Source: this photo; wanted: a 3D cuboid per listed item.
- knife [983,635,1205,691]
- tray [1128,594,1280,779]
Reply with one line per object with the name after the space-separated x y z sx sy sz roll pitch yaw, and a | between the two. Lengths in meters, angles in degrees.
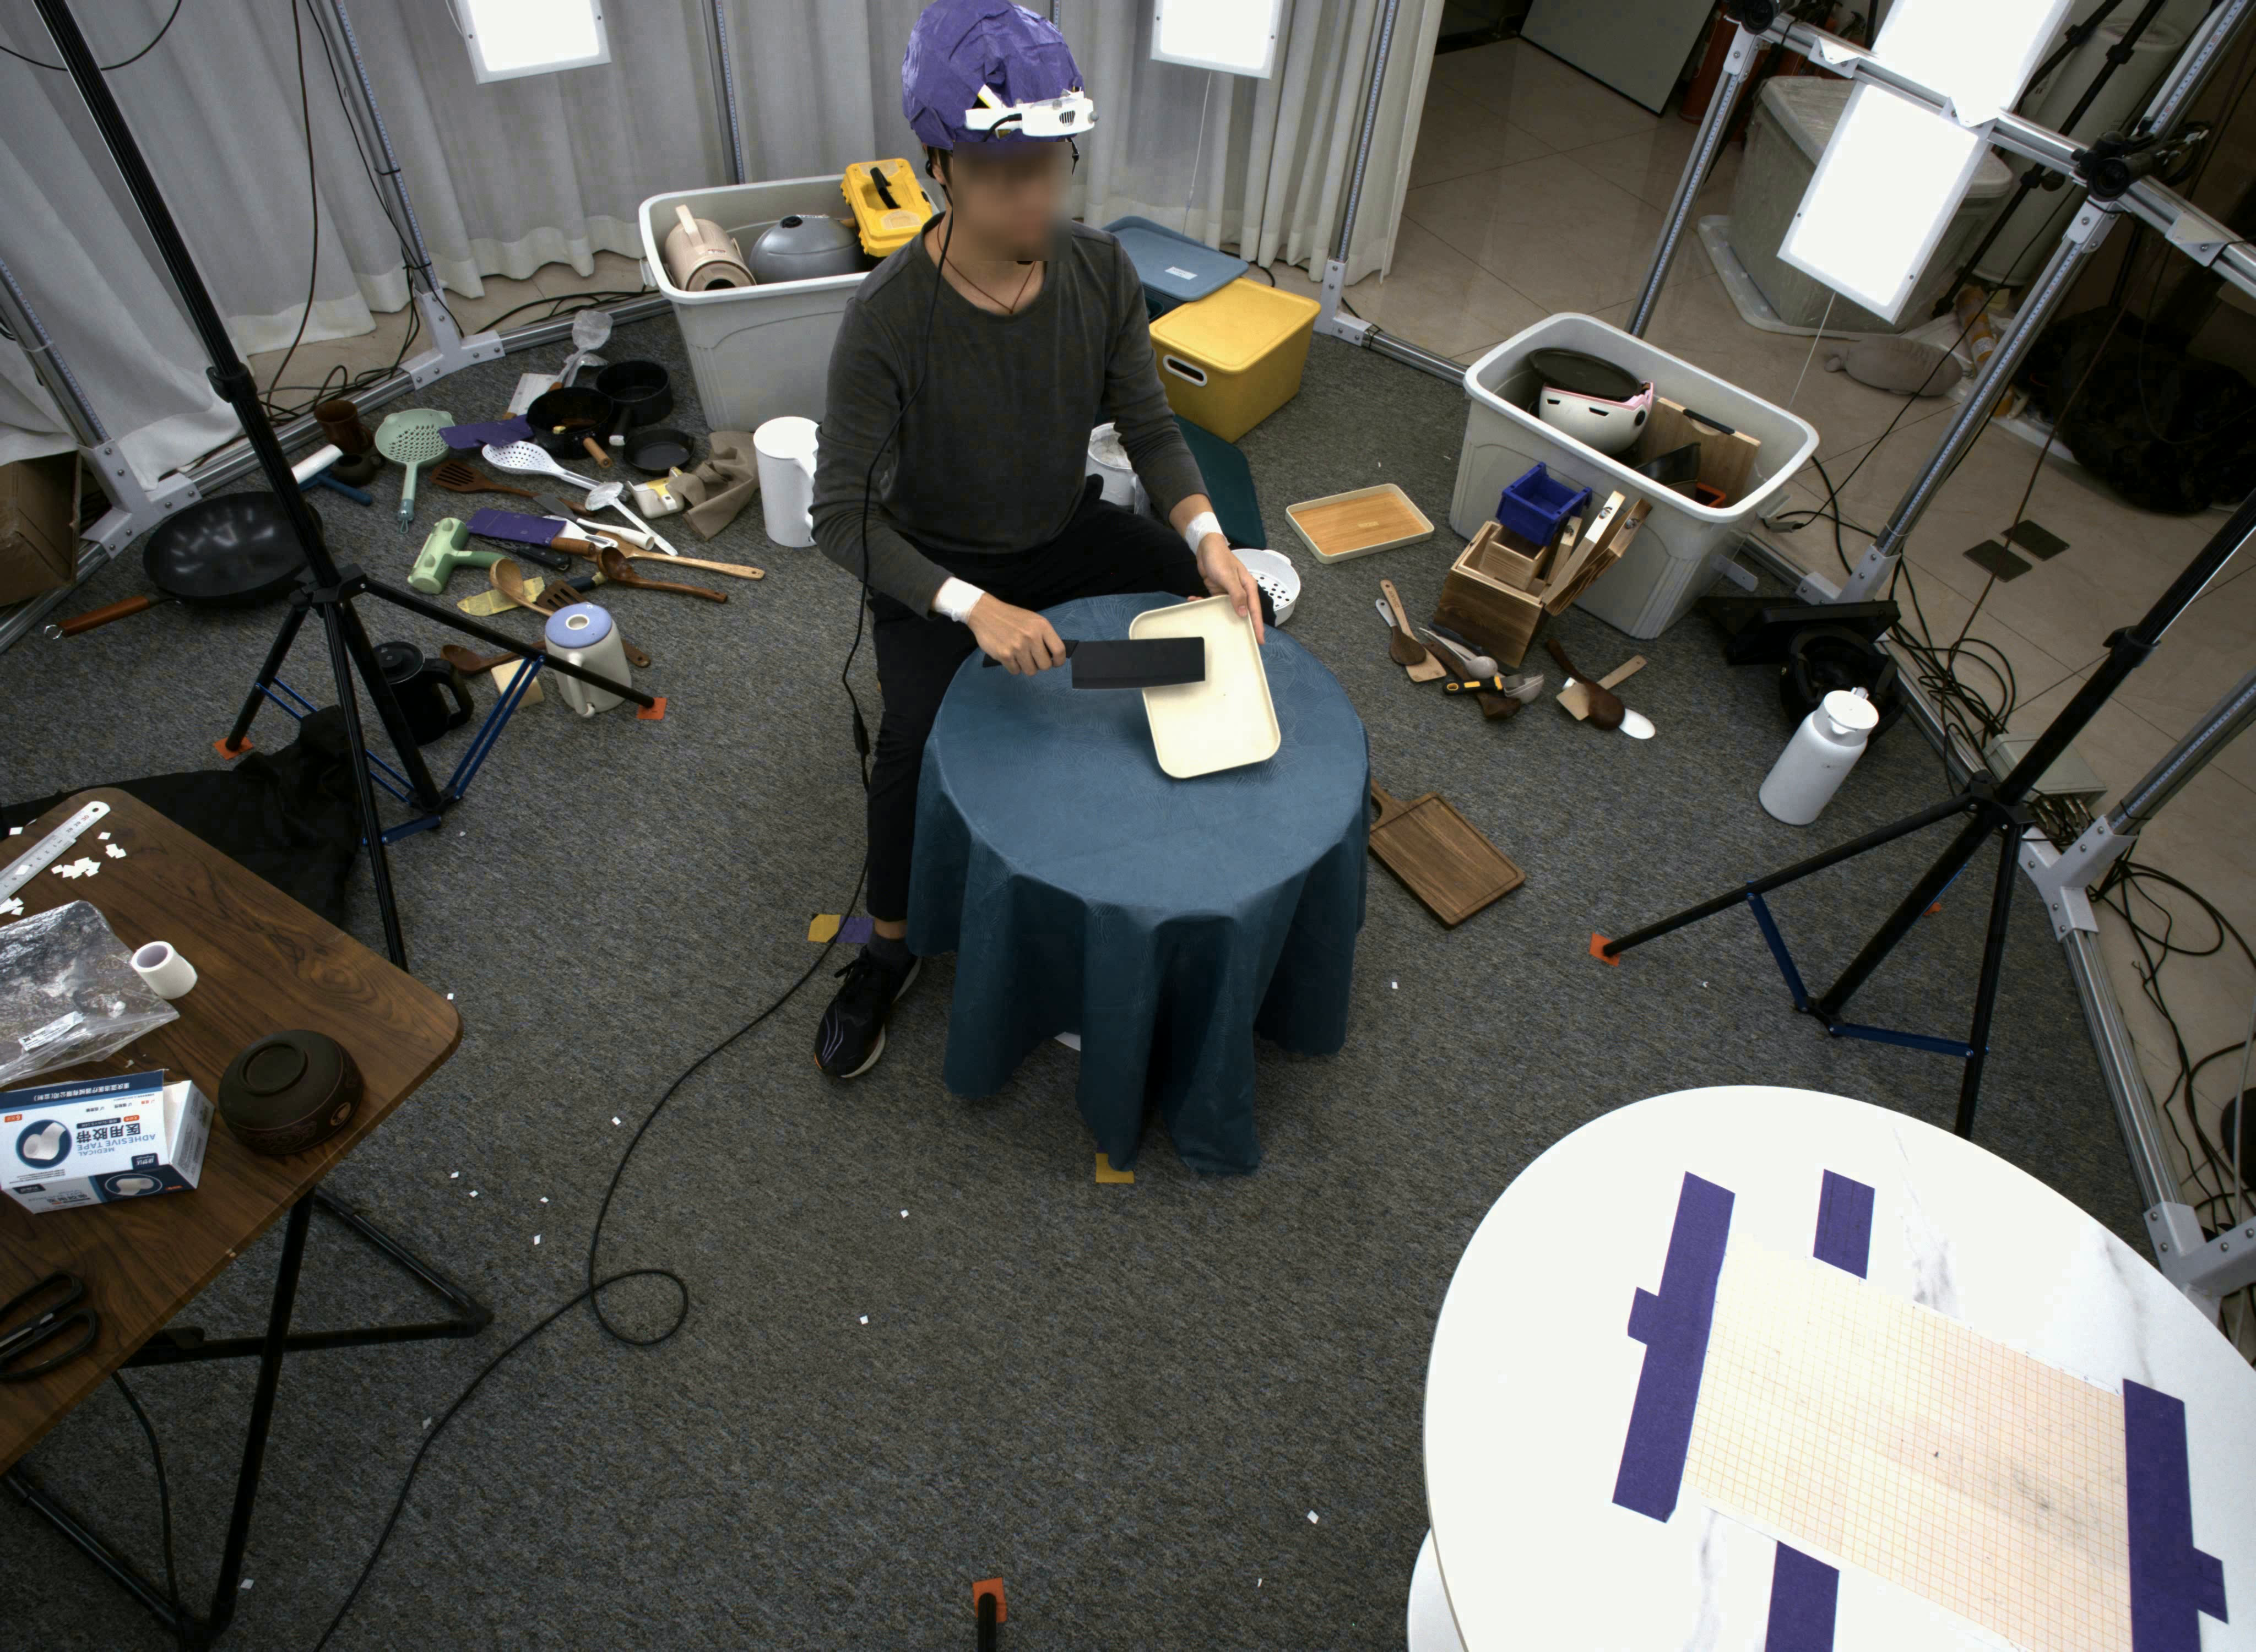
-0.046 -0.222 1.737 0.302 0.021 0.081 2 88 4 | knife
0.103 -0.190 1.749 0.171 0.017 0.242 -13 79 -2 | tray
